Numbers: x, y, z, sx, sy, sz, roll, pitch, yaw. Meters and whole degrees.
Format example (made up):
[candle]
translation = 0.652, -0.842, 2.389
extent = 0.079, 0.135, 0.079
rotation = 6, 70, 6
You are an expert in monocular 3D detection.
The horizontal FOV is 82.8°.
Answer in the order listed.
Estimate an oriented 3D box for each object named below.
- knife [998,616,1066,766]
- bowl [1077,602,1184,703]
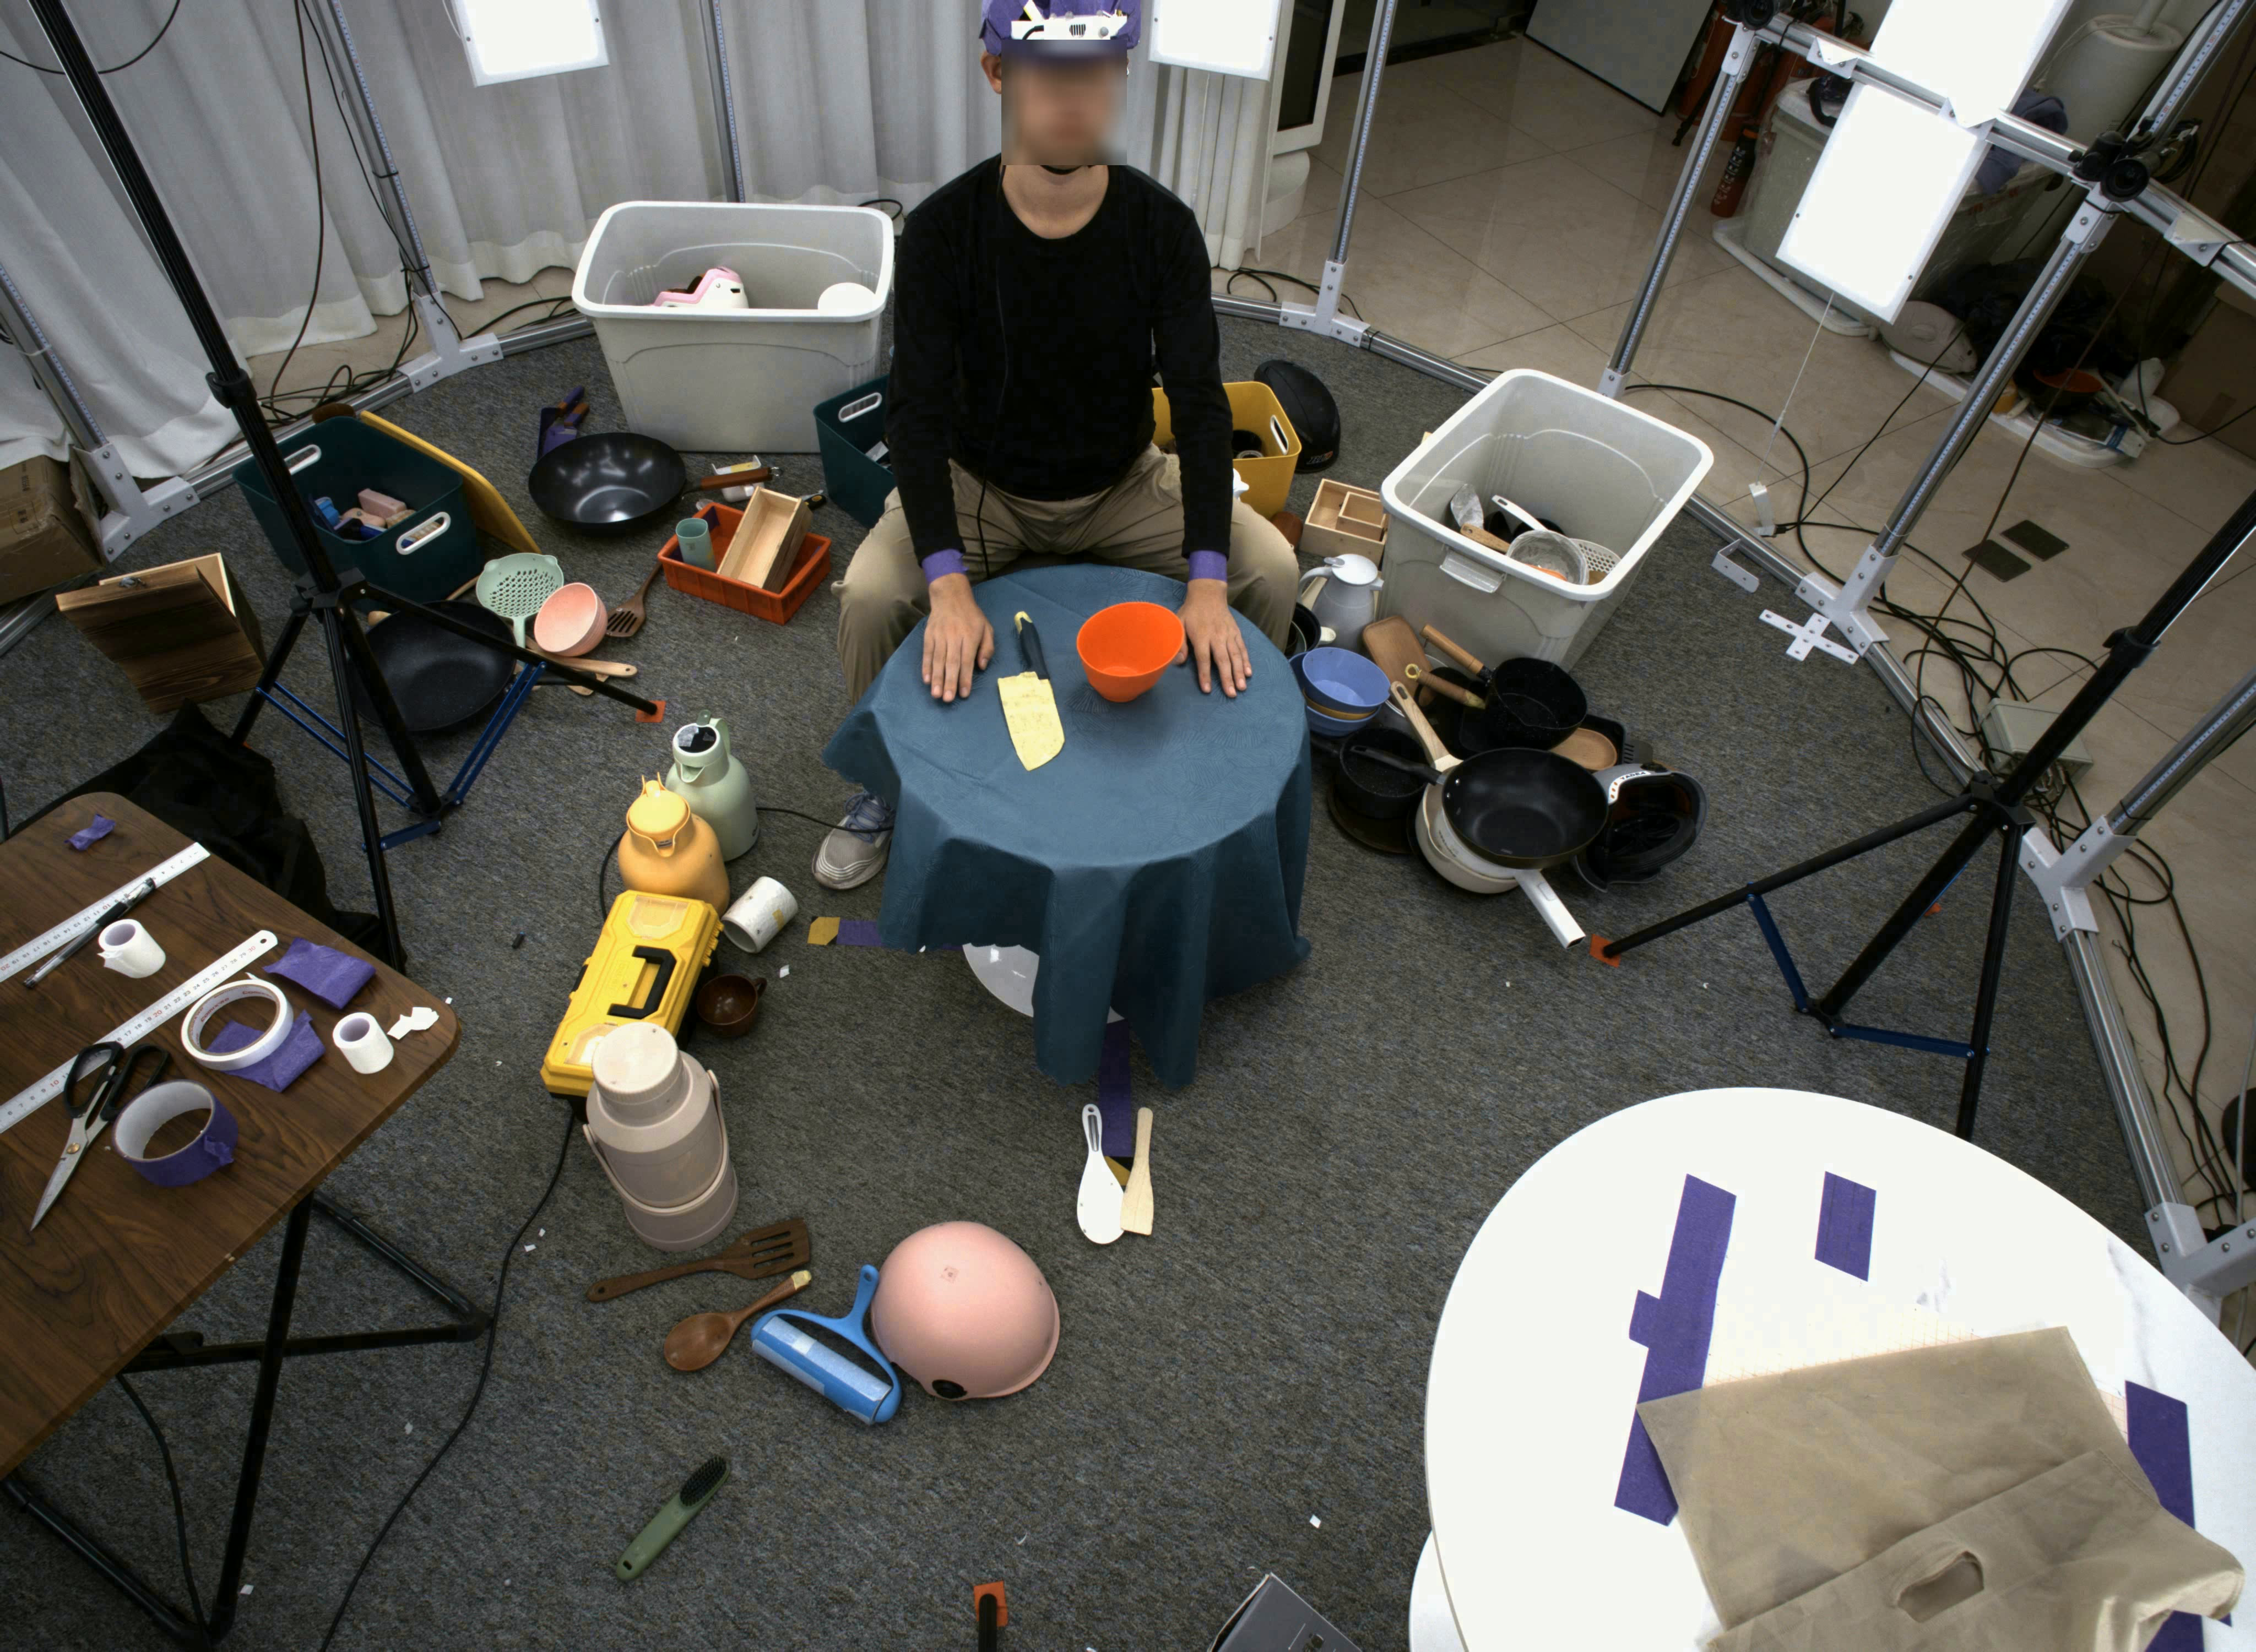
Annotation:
[knife]
translation = -0.142, -0.194, 1.820
extent = 0.081, 0.026, 0.297
rotation = -4, 51, -10
[bowl]
translation = 0.002, -0.233, 1.805
extent = 0.148, 0.102, 0.152
rotation = 1, 51, -2
